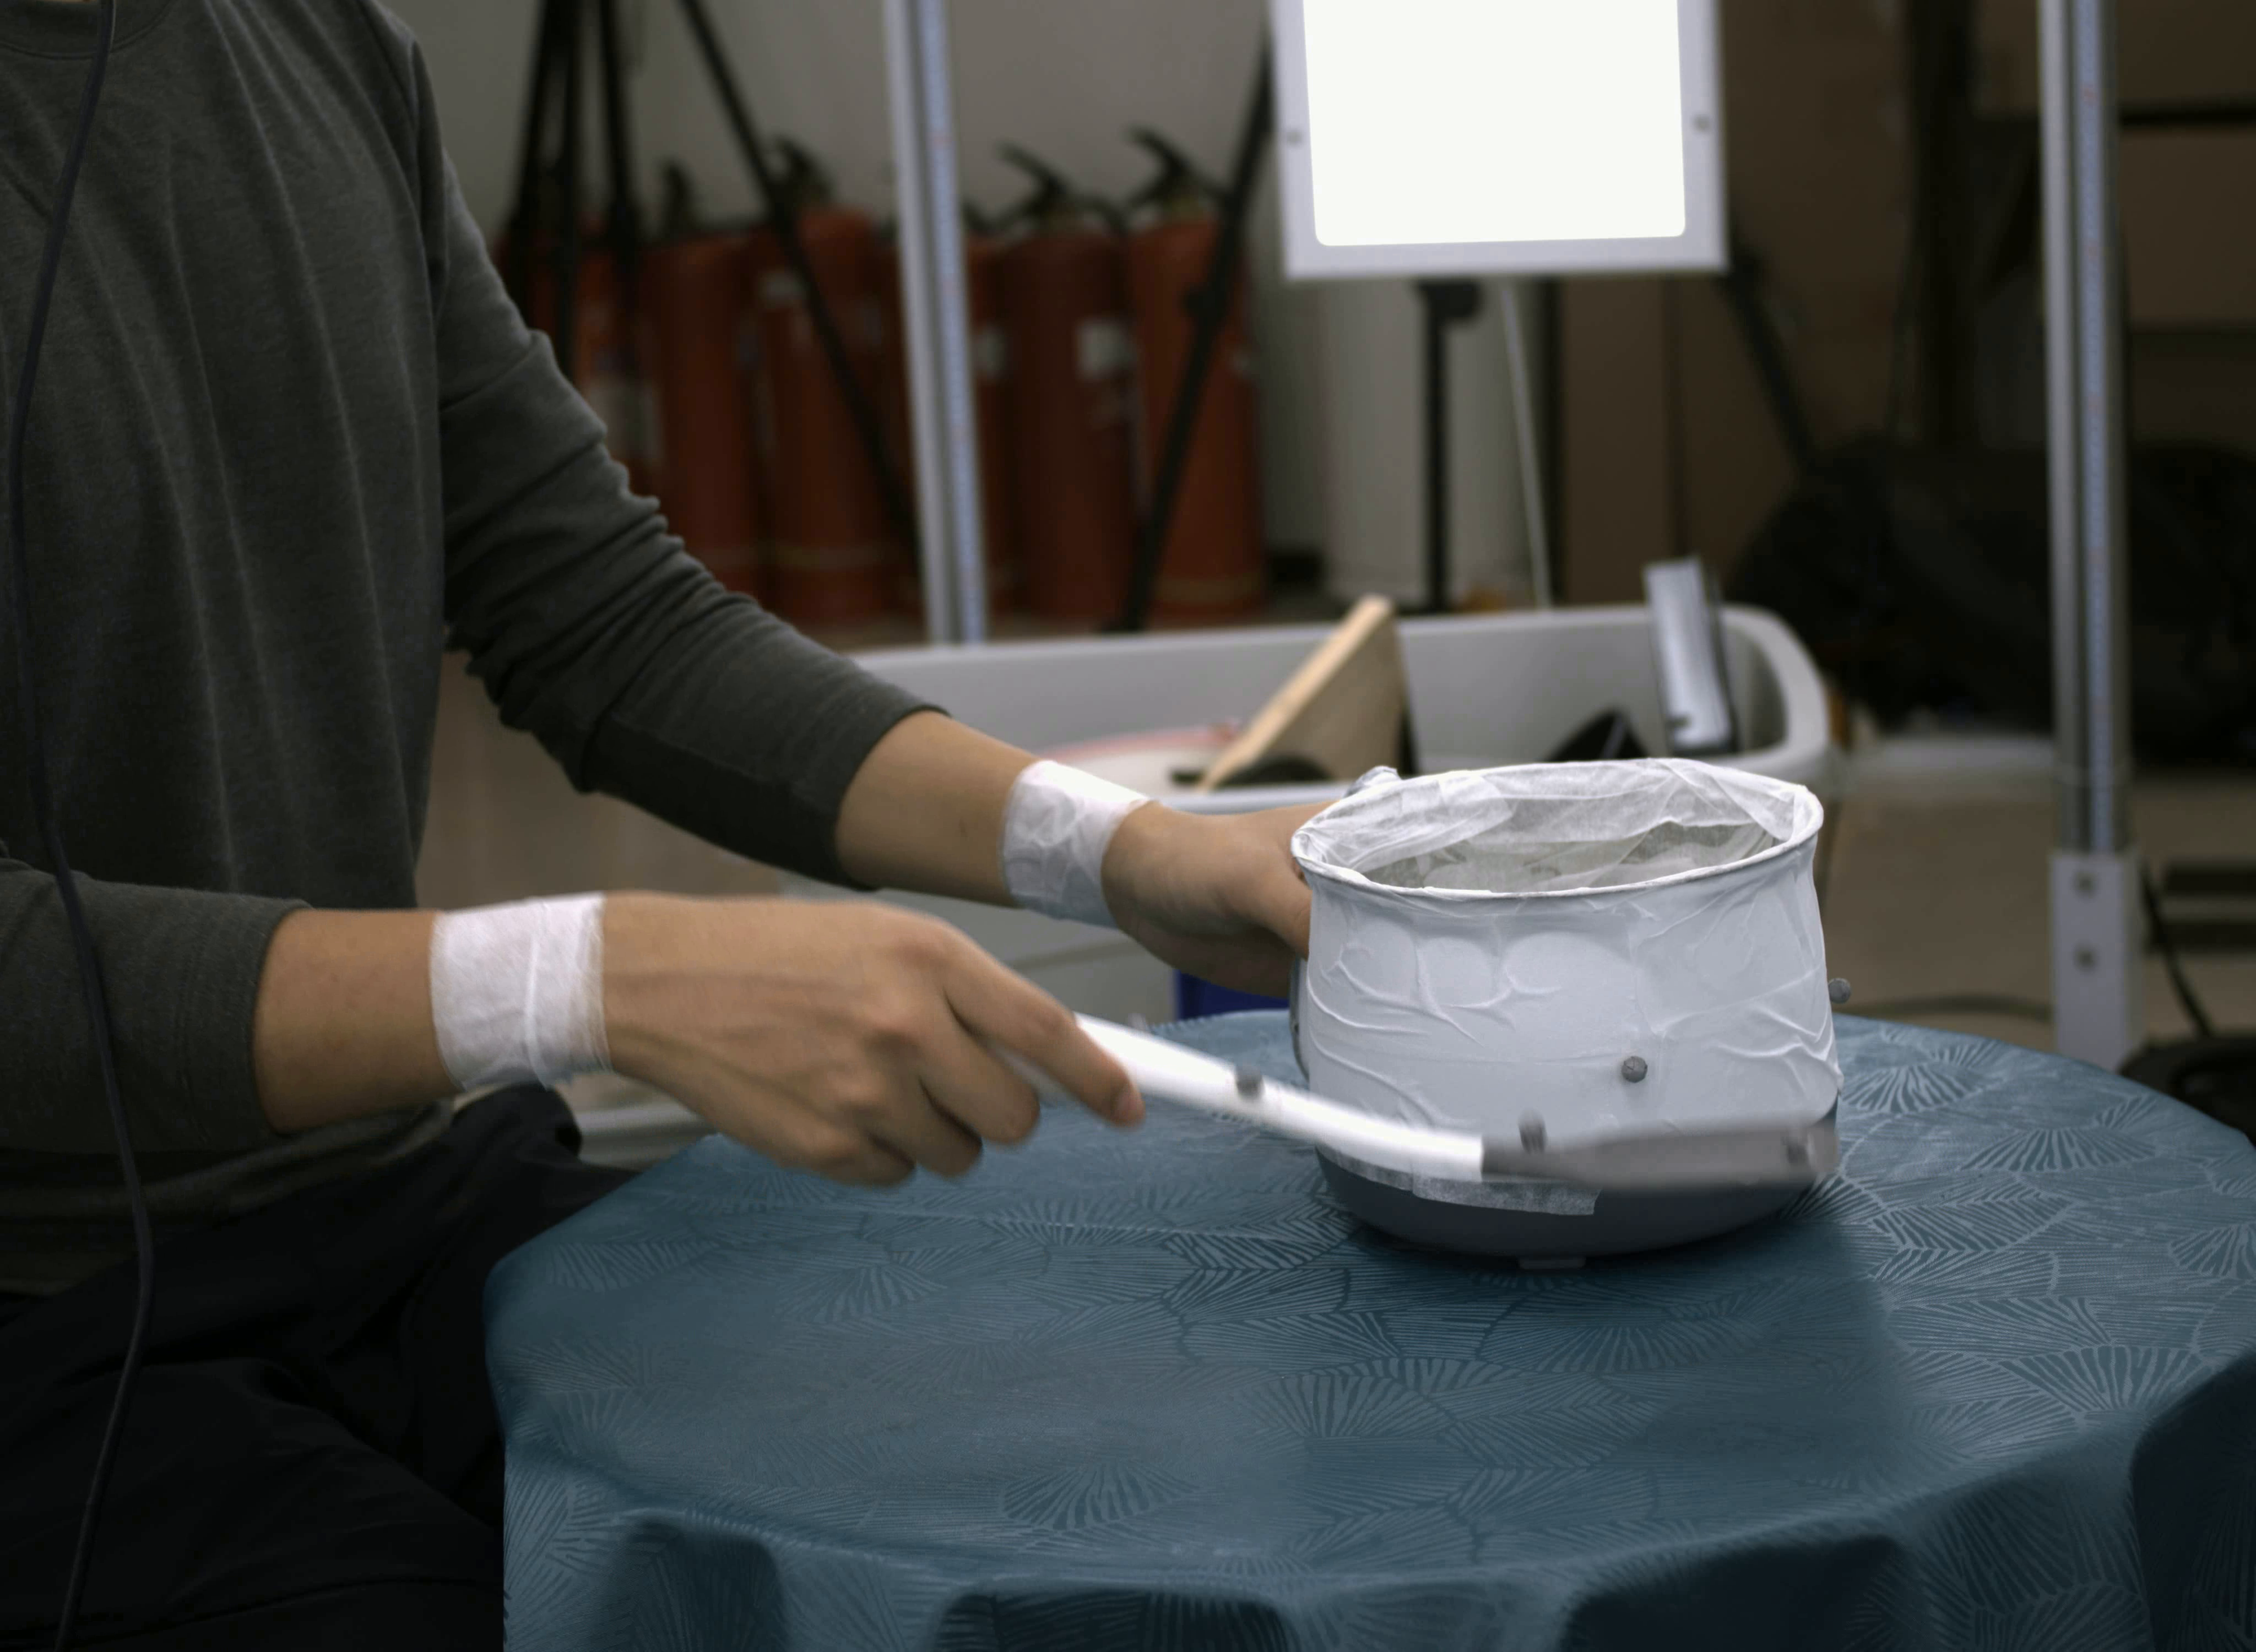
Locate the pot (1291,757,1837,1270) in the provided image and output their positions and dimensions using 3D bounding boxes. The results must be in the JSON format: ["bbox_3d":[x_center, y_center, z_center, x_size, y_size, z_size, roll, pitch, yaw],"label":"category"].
[{"bbox_3d":[0.131,0.056,1.853,0.174,0.137,0.238,-13,16,-31],"label":"pot"}]

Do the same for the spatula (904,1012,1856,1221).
[{"bbox_3d":[0.075,0.092,1.651,0.288,0.032,0.058,8,12,8],"label":"spatula"}]
